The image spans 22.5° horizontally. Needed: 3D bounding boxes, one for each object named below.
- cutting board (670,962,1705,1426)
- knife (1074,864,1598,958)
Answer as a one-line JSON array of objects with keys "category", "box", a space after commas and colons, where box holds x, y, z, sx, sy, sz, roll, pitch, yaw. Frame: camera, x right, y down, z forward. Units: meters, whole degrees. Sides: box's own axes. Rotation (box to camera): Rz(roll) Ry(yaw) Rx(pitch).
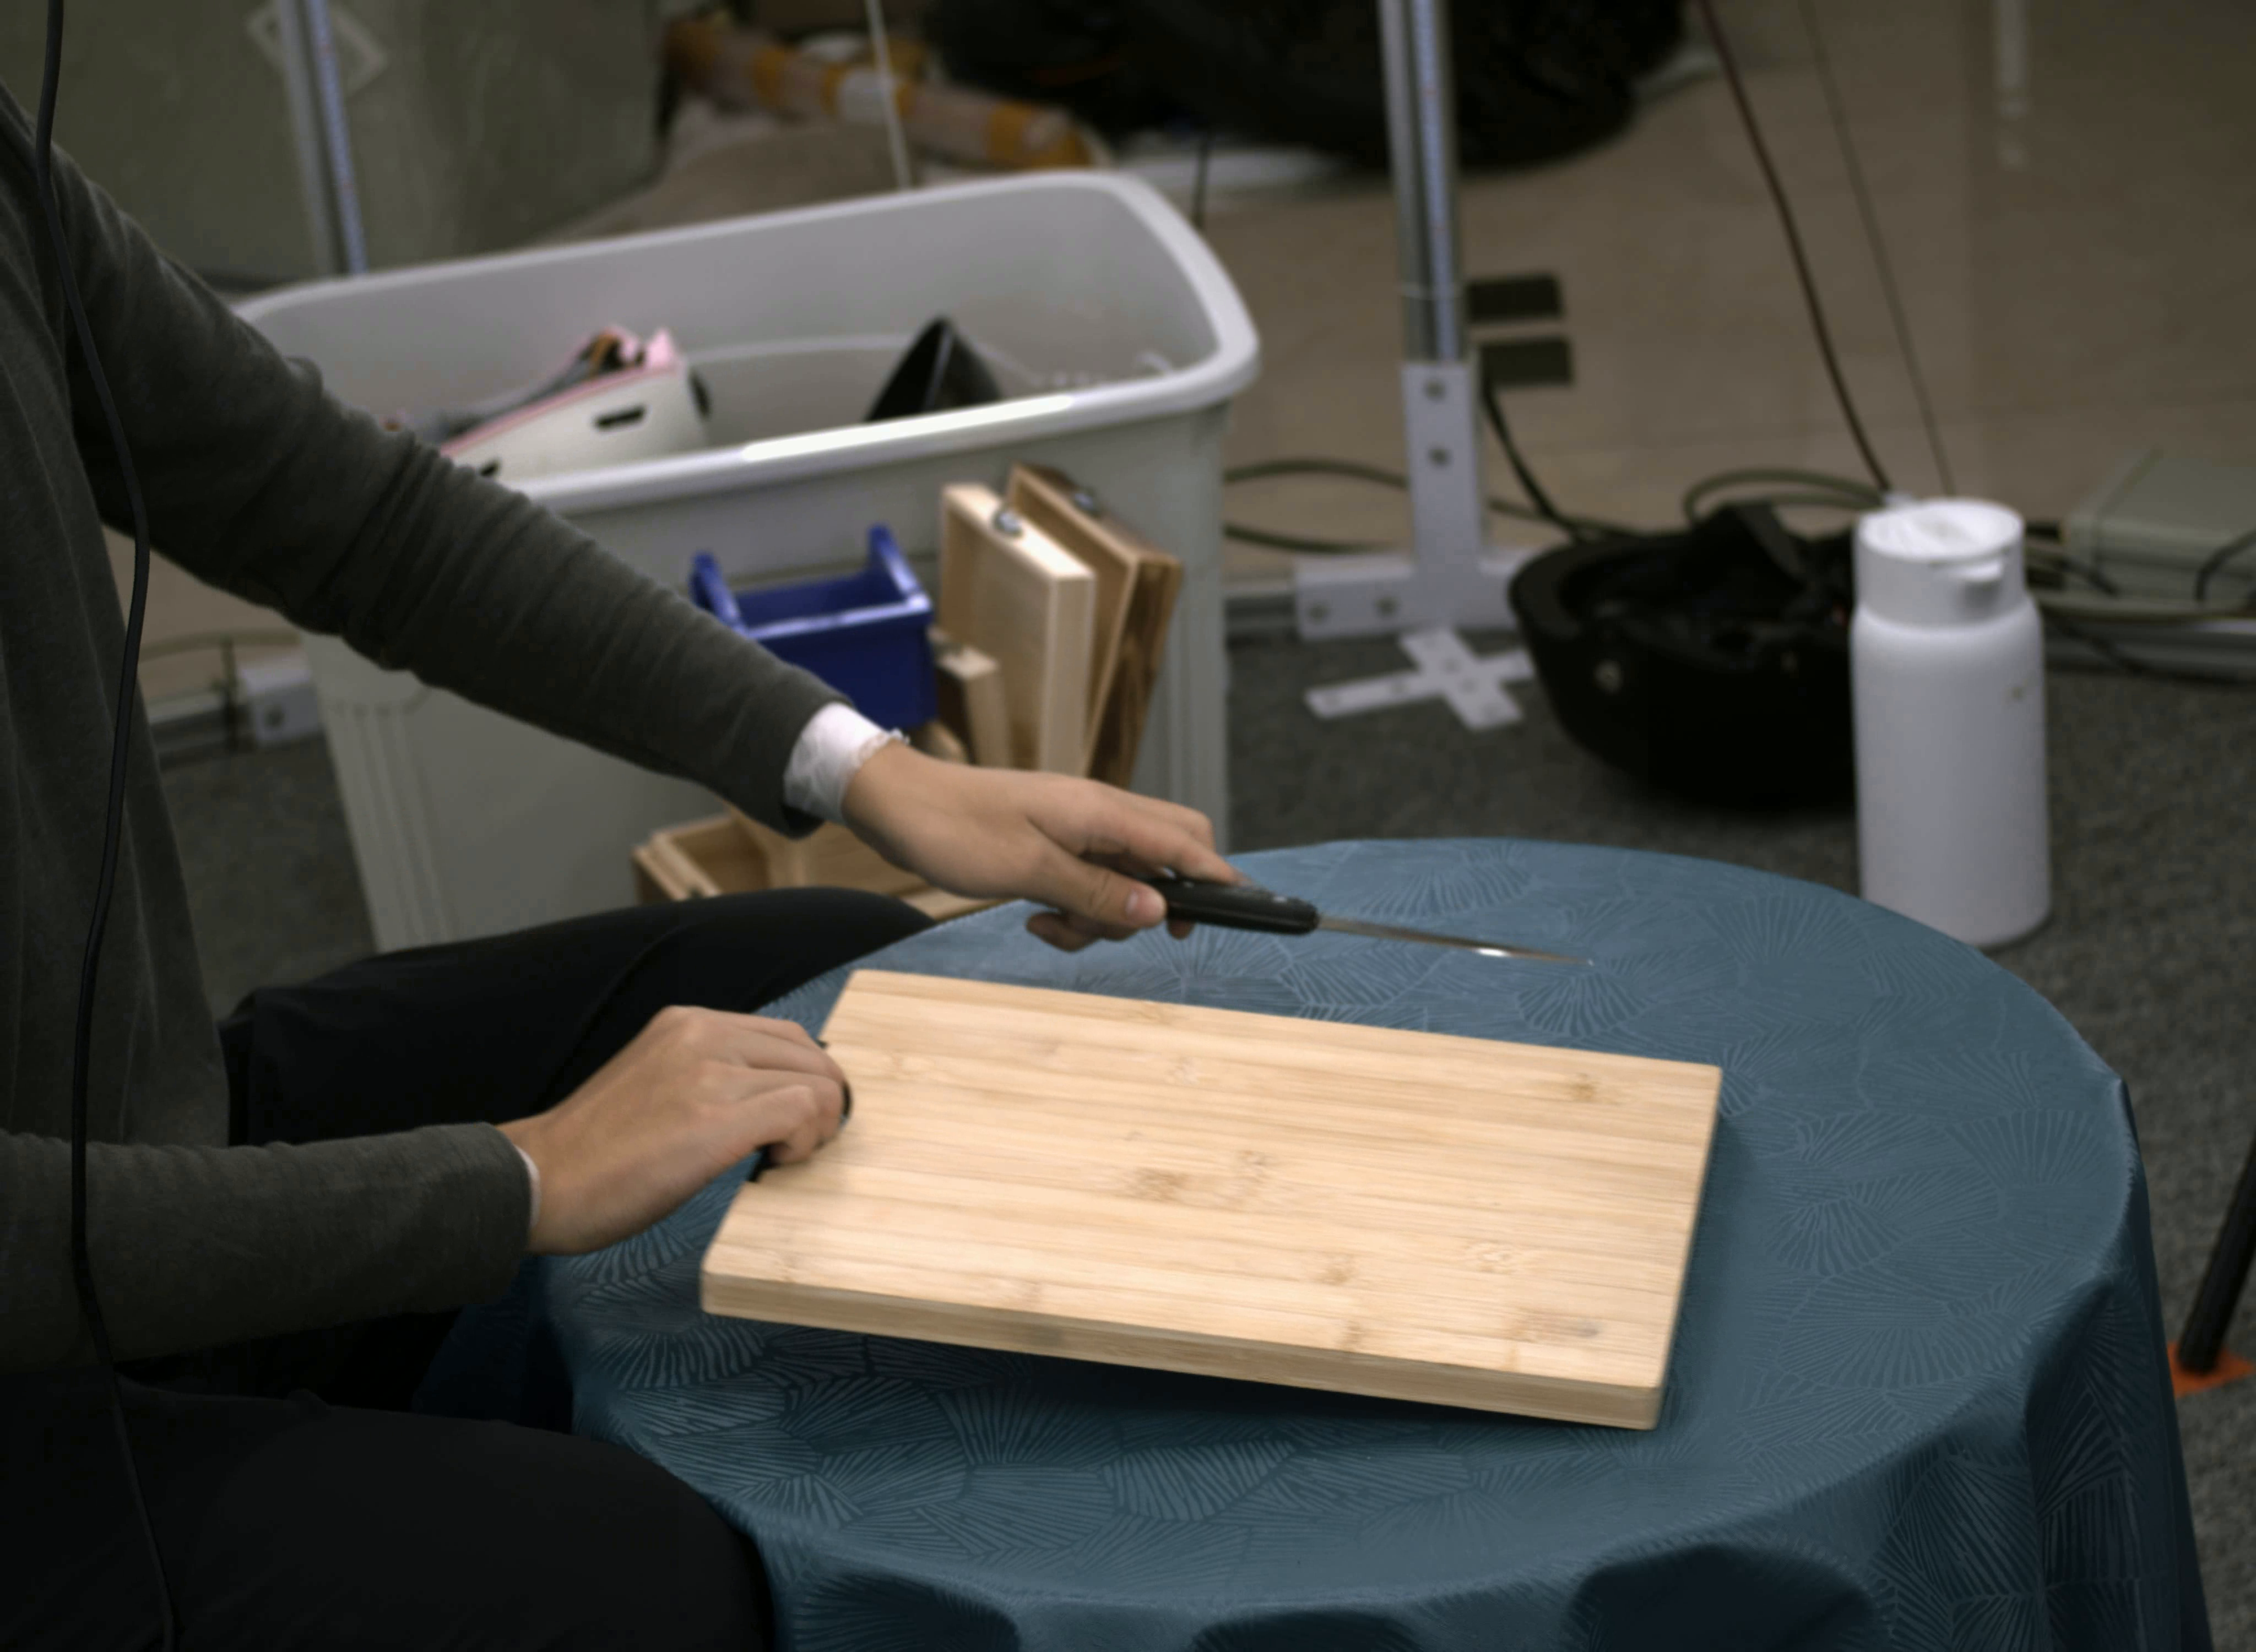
[{"category": "cutting board", "box": [0.028, 0.131, 2.086, 0.348, 0.024, 0.247, 6, 26, 8]}, {"category": "knife", "box": [0.078, 0.037, 2.242, 0.237, 0.016, 0.024, 8, 16, 30]}]
